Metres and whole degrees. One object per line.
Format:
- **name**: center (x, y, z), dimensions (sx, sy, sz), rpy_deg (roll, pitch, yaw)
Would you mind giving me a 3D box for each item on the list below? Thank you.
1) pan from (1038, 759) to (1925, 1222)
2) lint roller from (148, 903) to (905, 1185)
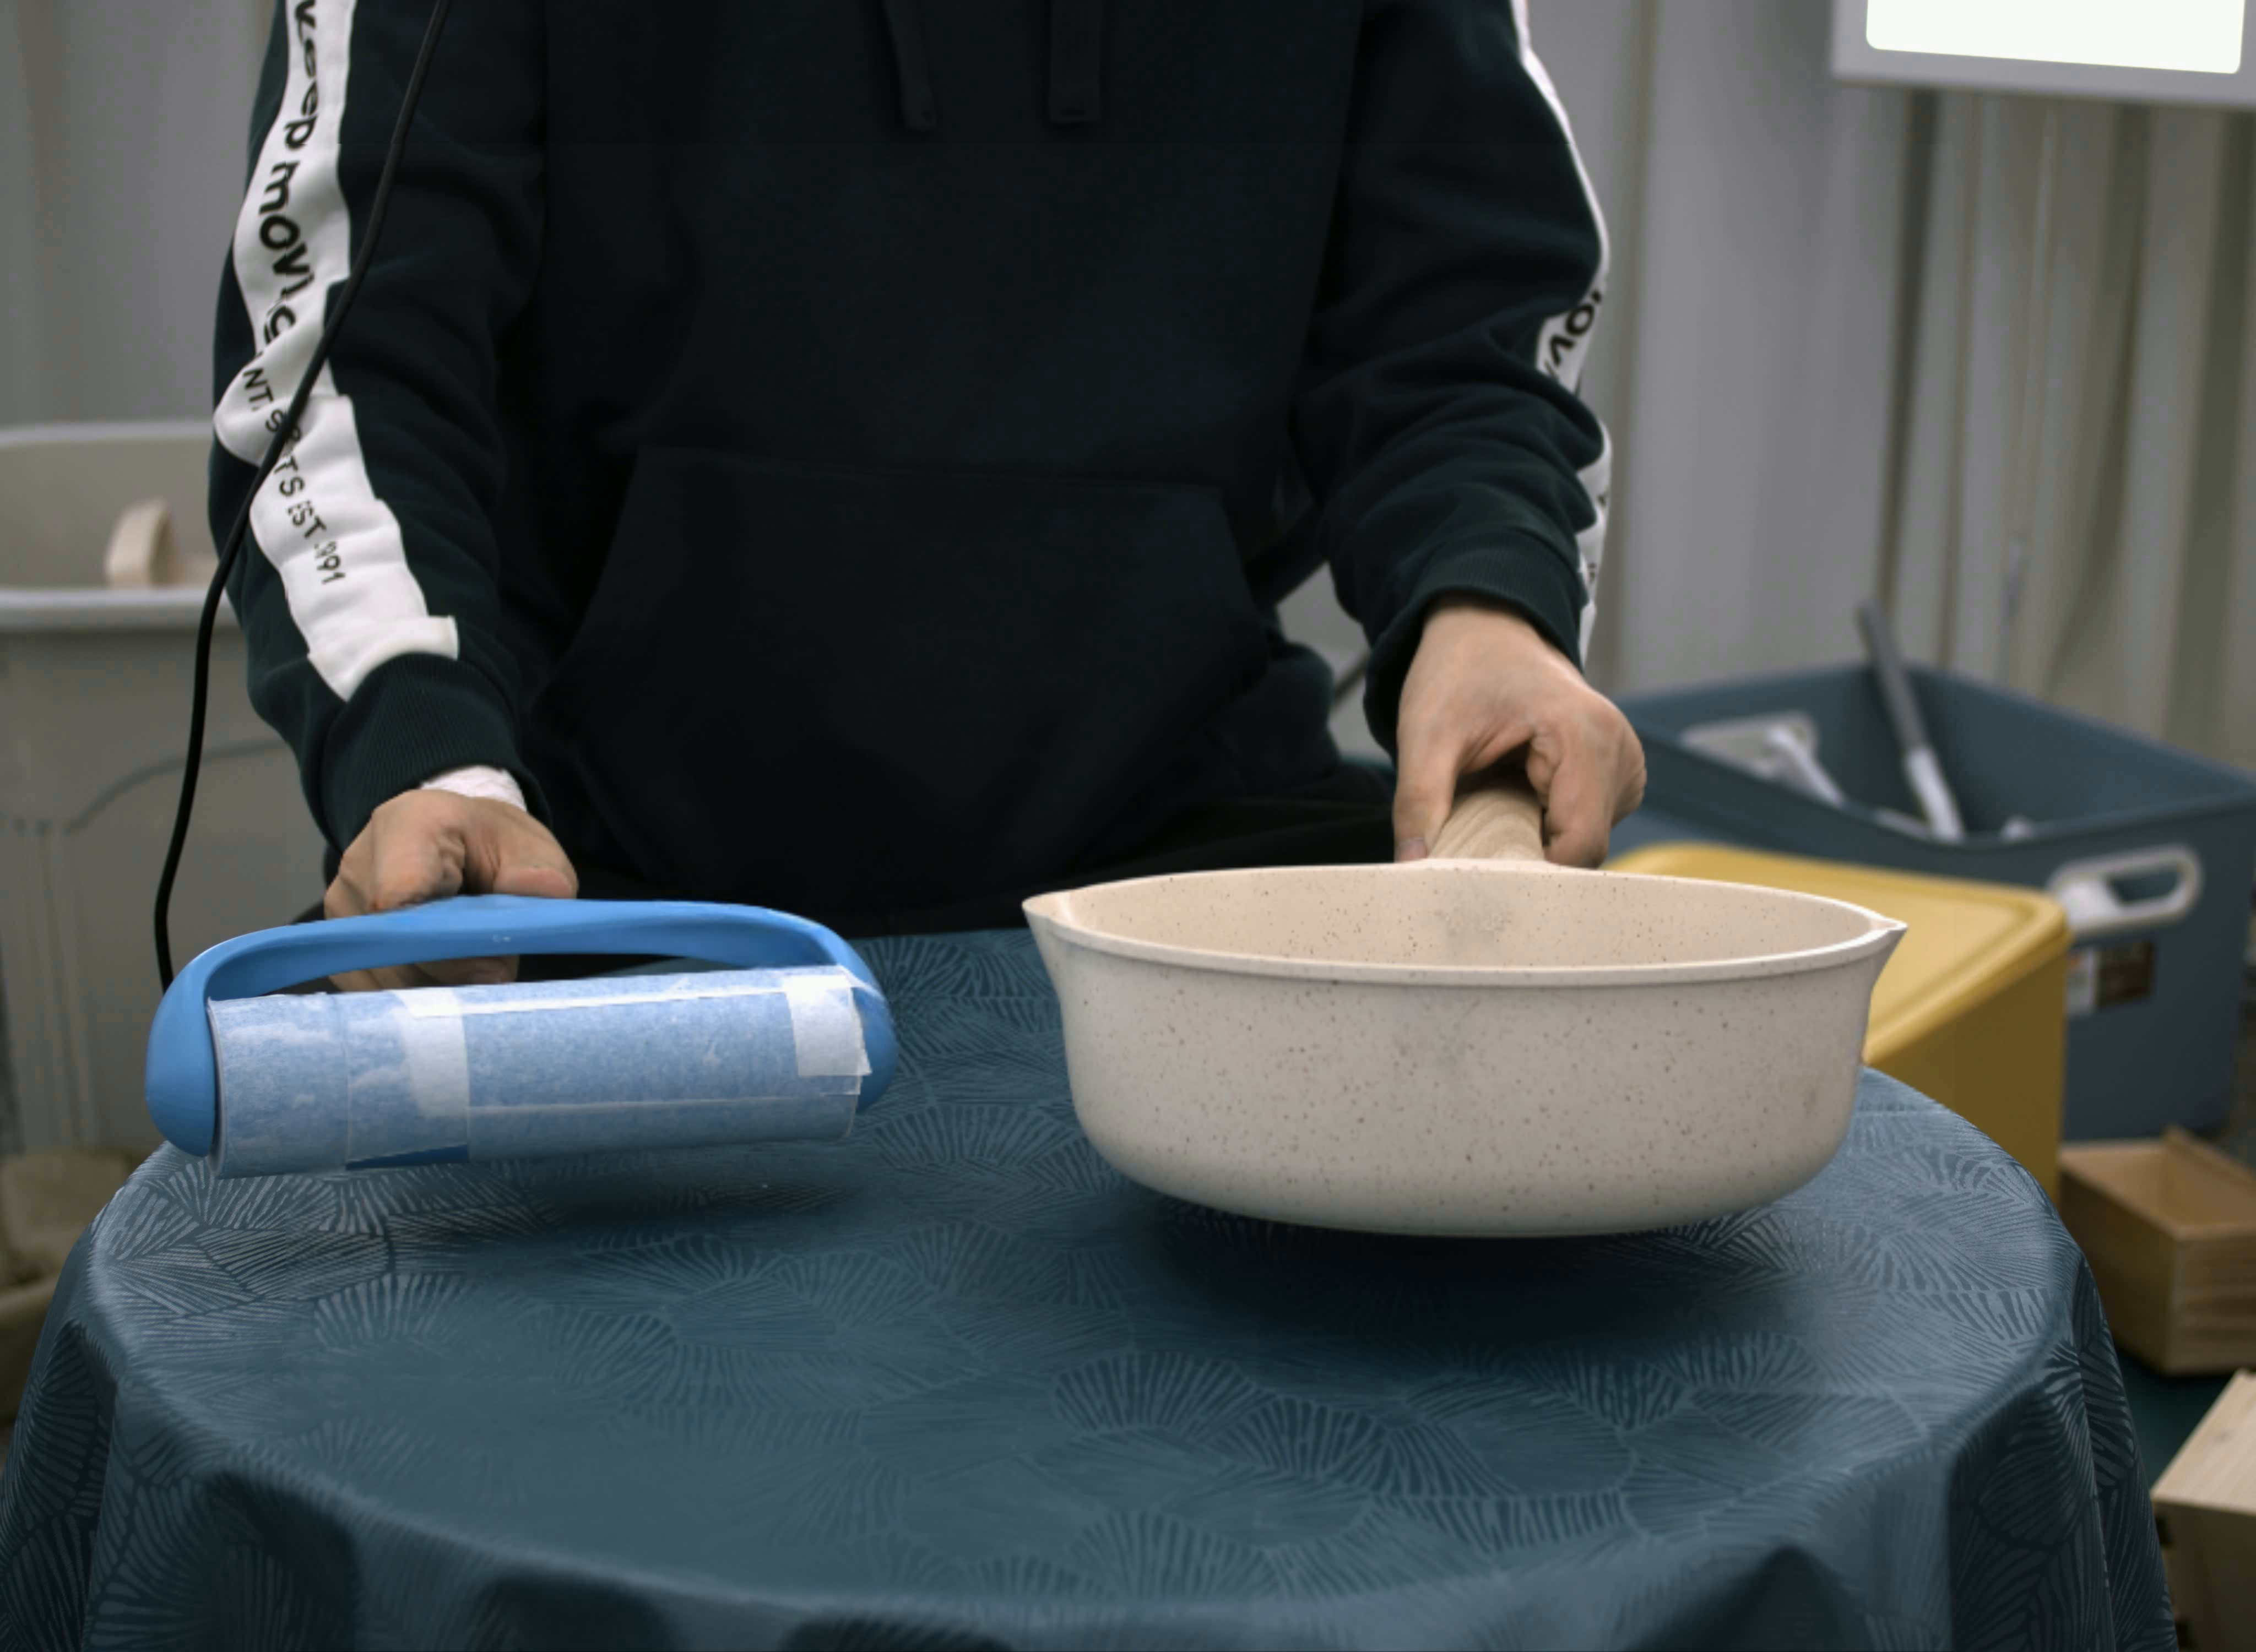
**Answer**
- **pan**: center (0.113, 0.047, 1.653), dimensions (0.262, 0.102, 0.434), rpy_deg (0, 5, 5)
- **lint roller**: center (-0.198, 0.054, 1.624), dimensions (0.229, 0.068, 0.178), rpy_deg (-5, 20, -21)
